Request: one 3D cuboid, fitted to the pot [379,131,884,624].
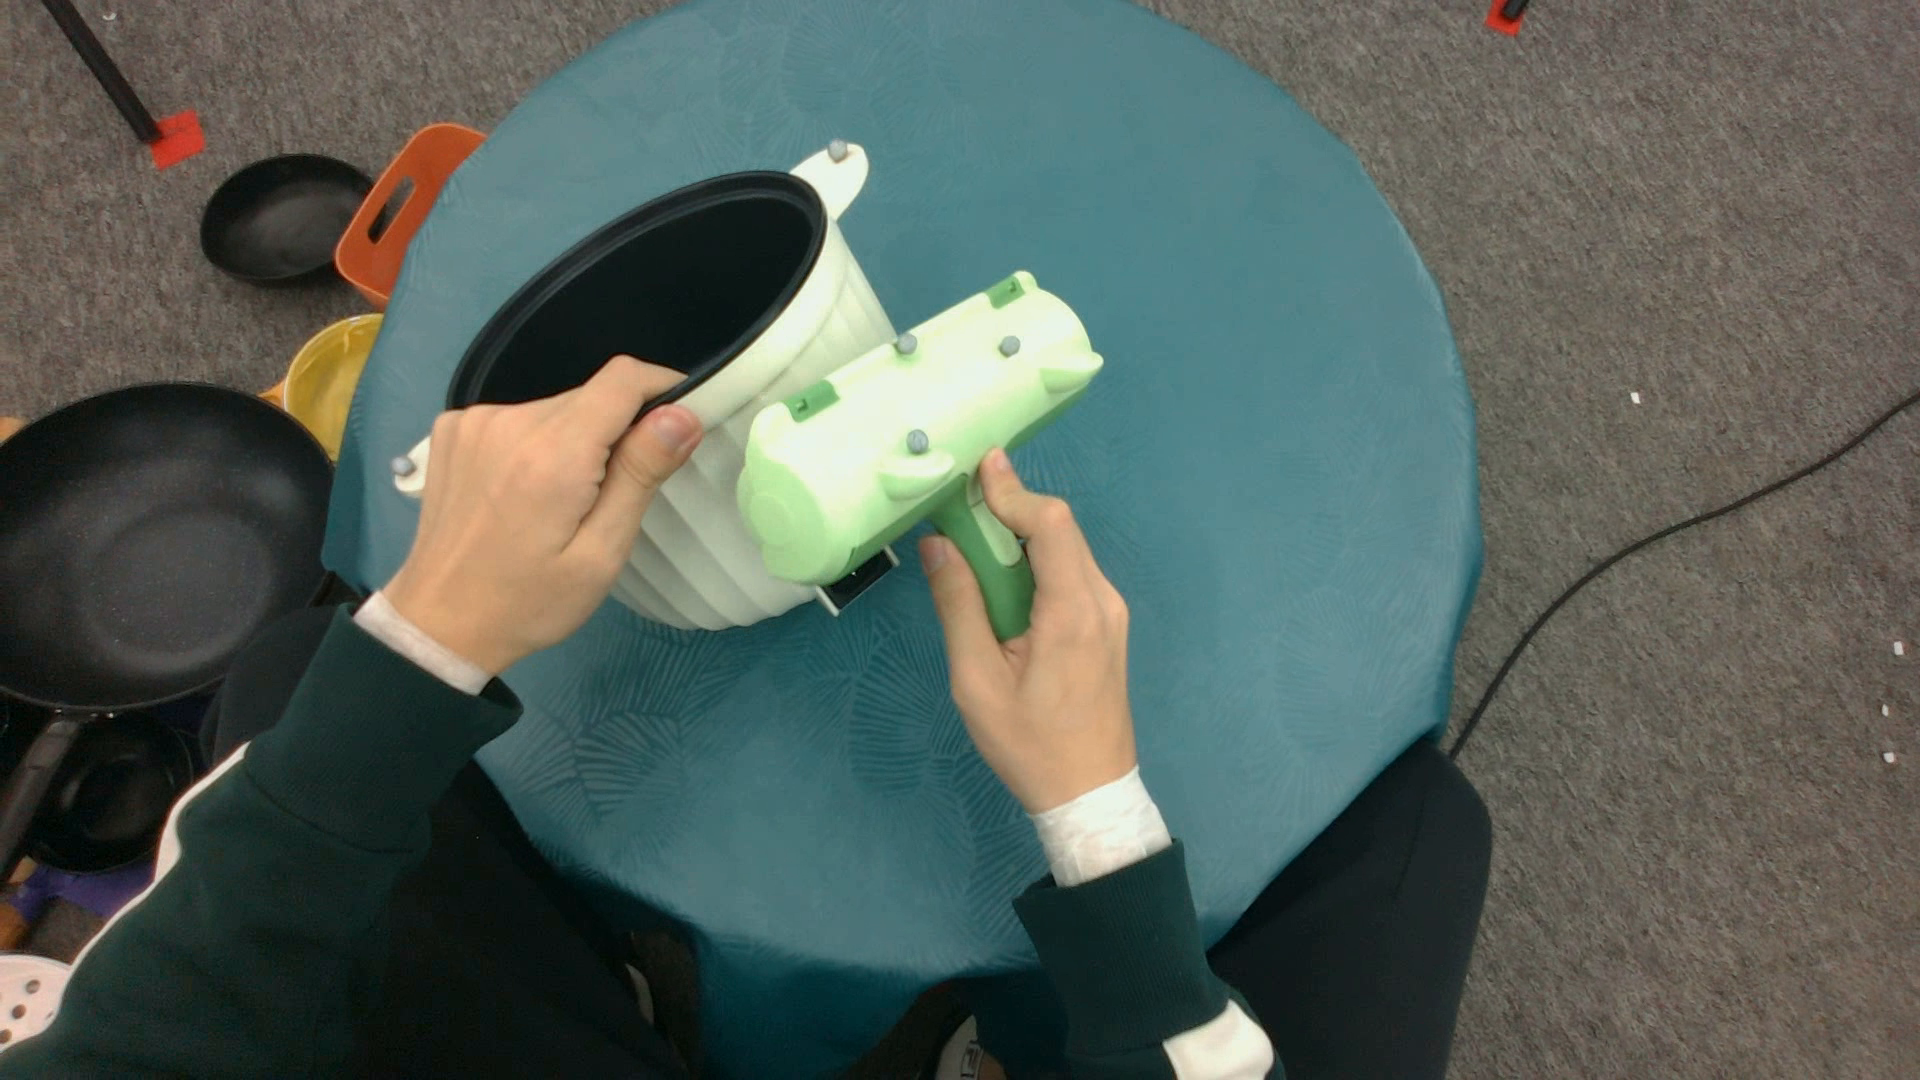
[{"bbox_3d":[-0.123,-0.060,0.619,0.241,0.142,0.190,-41,43,-12],"label":"pot"}]

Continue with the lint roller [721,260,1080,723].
[{"bbox_3d":[0.013,-0.009,0.566,0.199,0.082,0.183,-40,103,-48],"label":"lint roller"}]
